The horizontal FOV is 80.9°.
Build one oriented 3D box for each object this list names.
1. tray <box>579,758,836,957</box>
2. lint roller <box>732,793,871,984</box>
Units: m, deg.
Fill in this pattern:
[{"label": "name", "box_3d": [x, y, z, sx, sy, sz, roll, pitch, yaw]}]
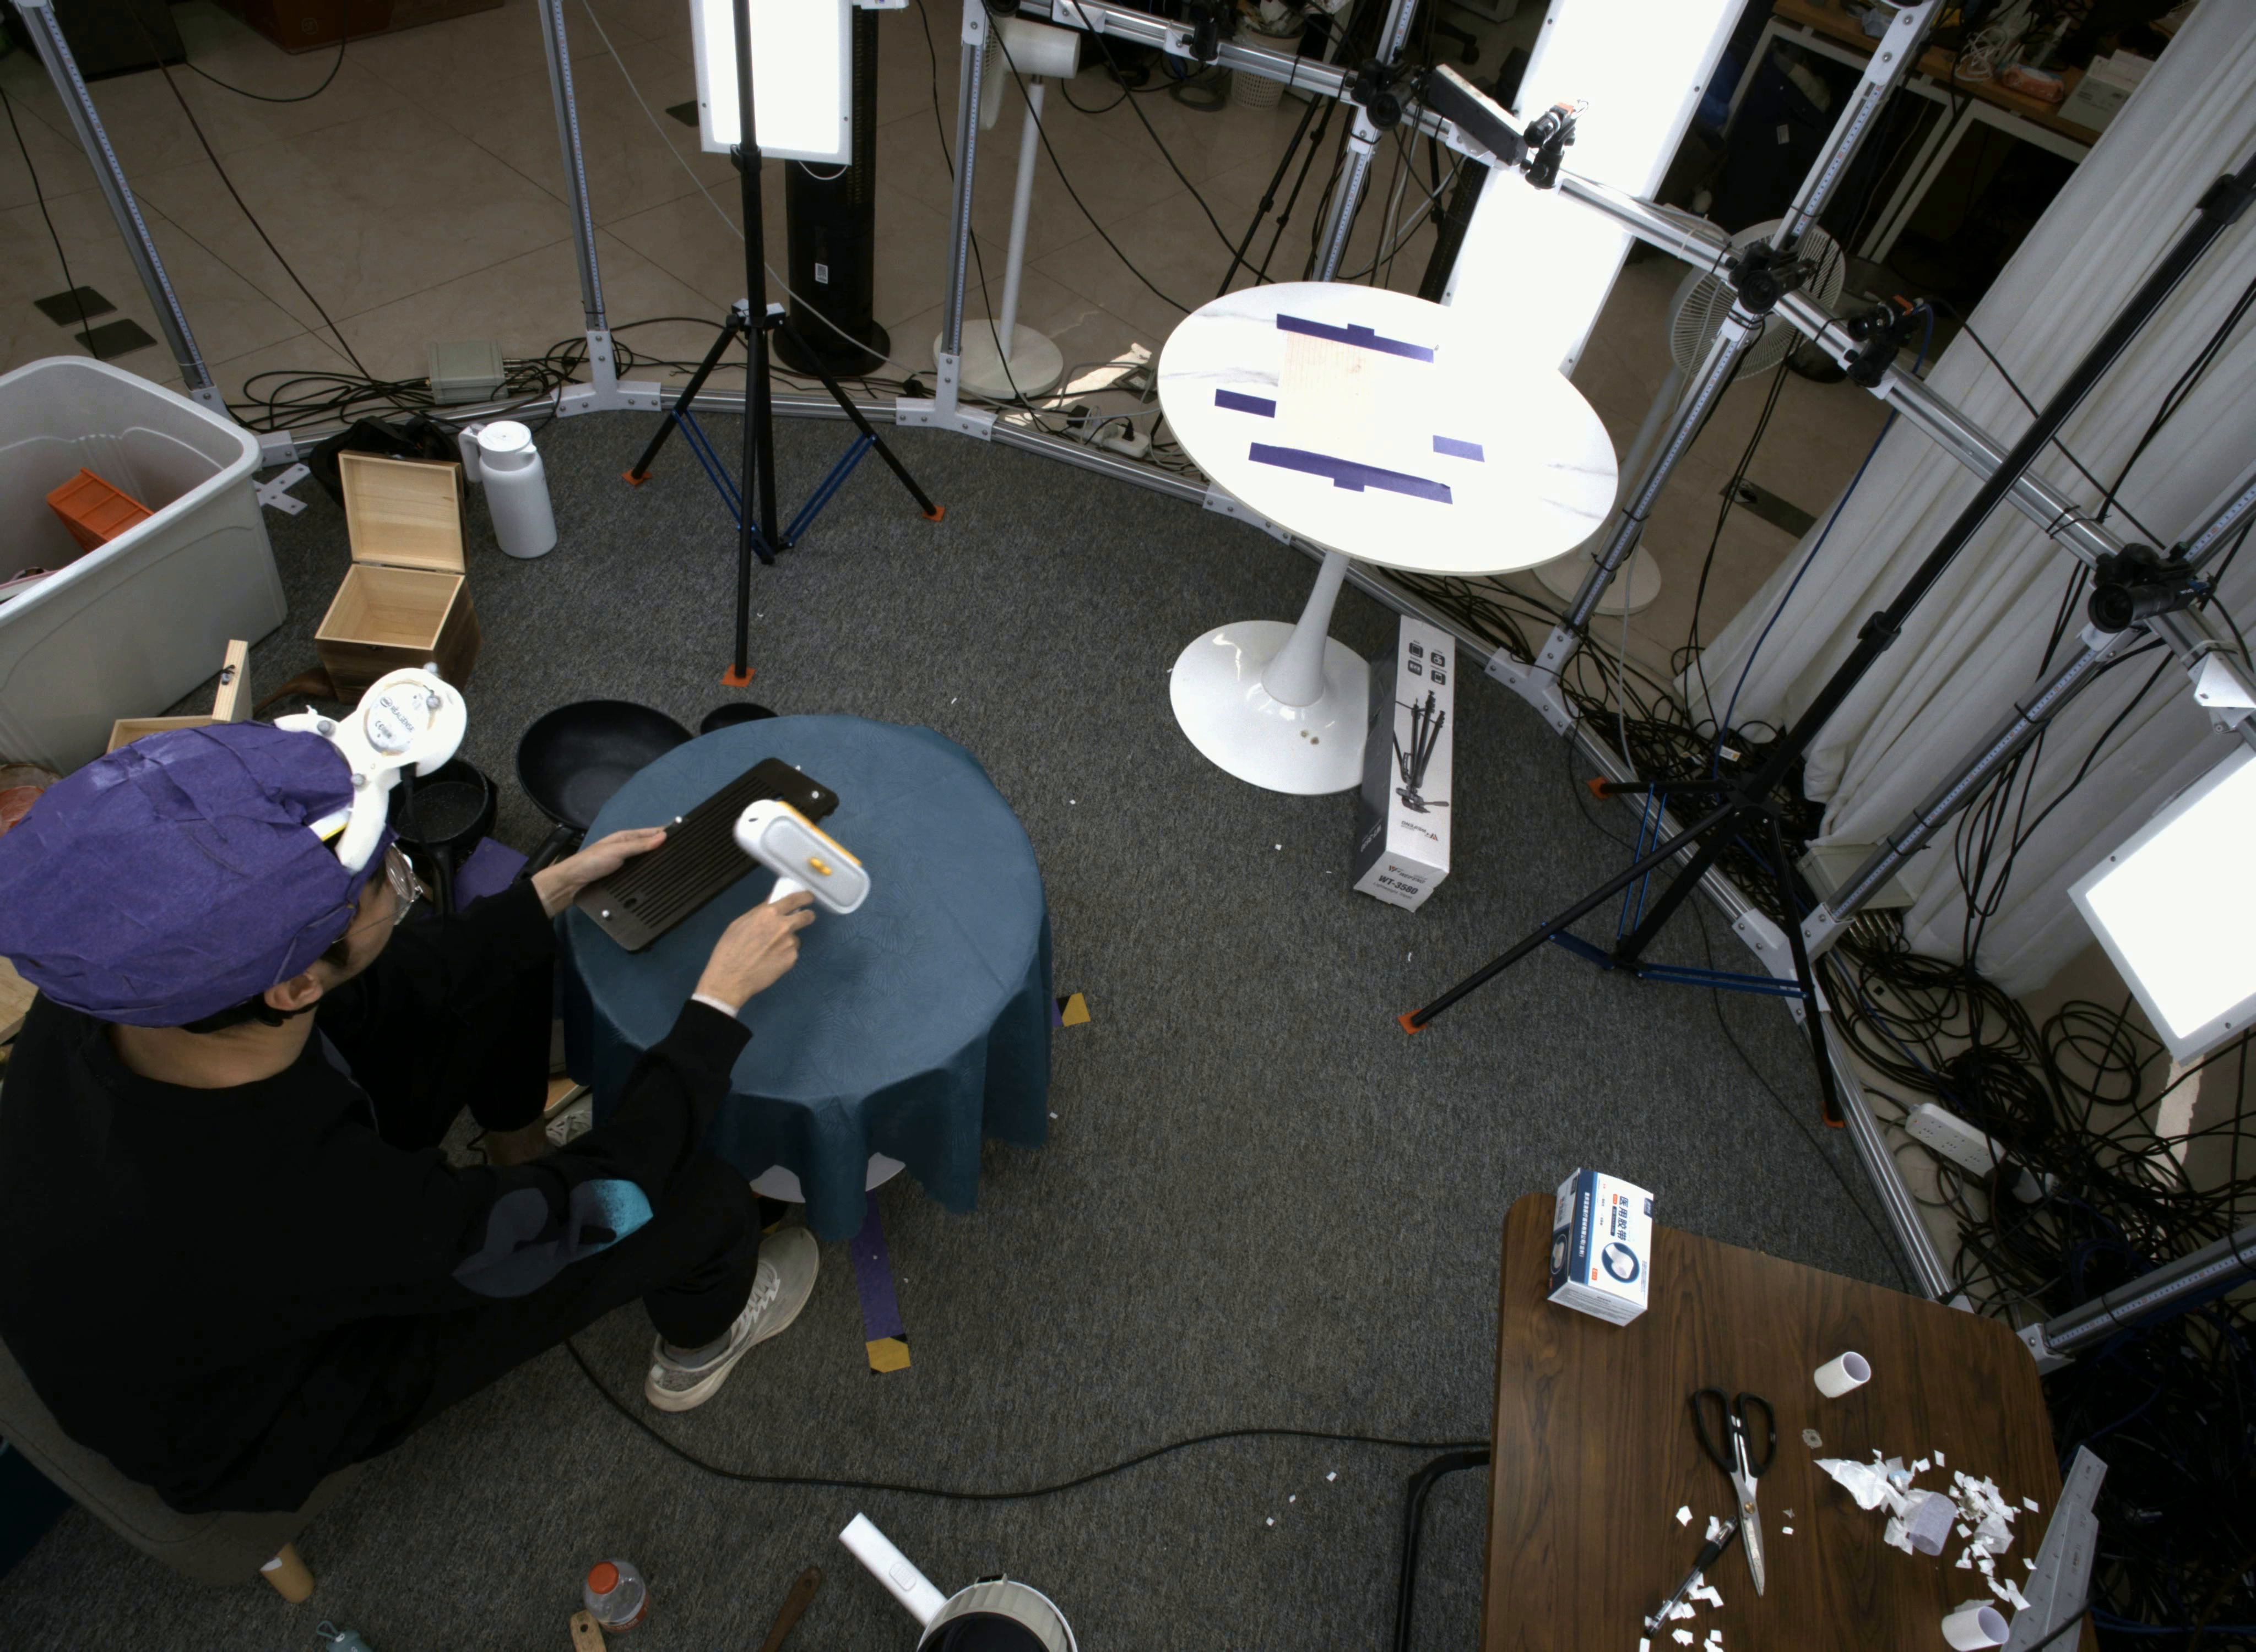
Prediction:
[{"label": "tray", "box_3d": [-0.507, 0.031, 1.546, 0.163, 0.019, 0.306, 27, 57, 39]}, {"label": "lint roller", "box_3d": [-0.392, 0.084, 1.491, 0.071, 0.200, 0.192, 13, 72, 33]}]
